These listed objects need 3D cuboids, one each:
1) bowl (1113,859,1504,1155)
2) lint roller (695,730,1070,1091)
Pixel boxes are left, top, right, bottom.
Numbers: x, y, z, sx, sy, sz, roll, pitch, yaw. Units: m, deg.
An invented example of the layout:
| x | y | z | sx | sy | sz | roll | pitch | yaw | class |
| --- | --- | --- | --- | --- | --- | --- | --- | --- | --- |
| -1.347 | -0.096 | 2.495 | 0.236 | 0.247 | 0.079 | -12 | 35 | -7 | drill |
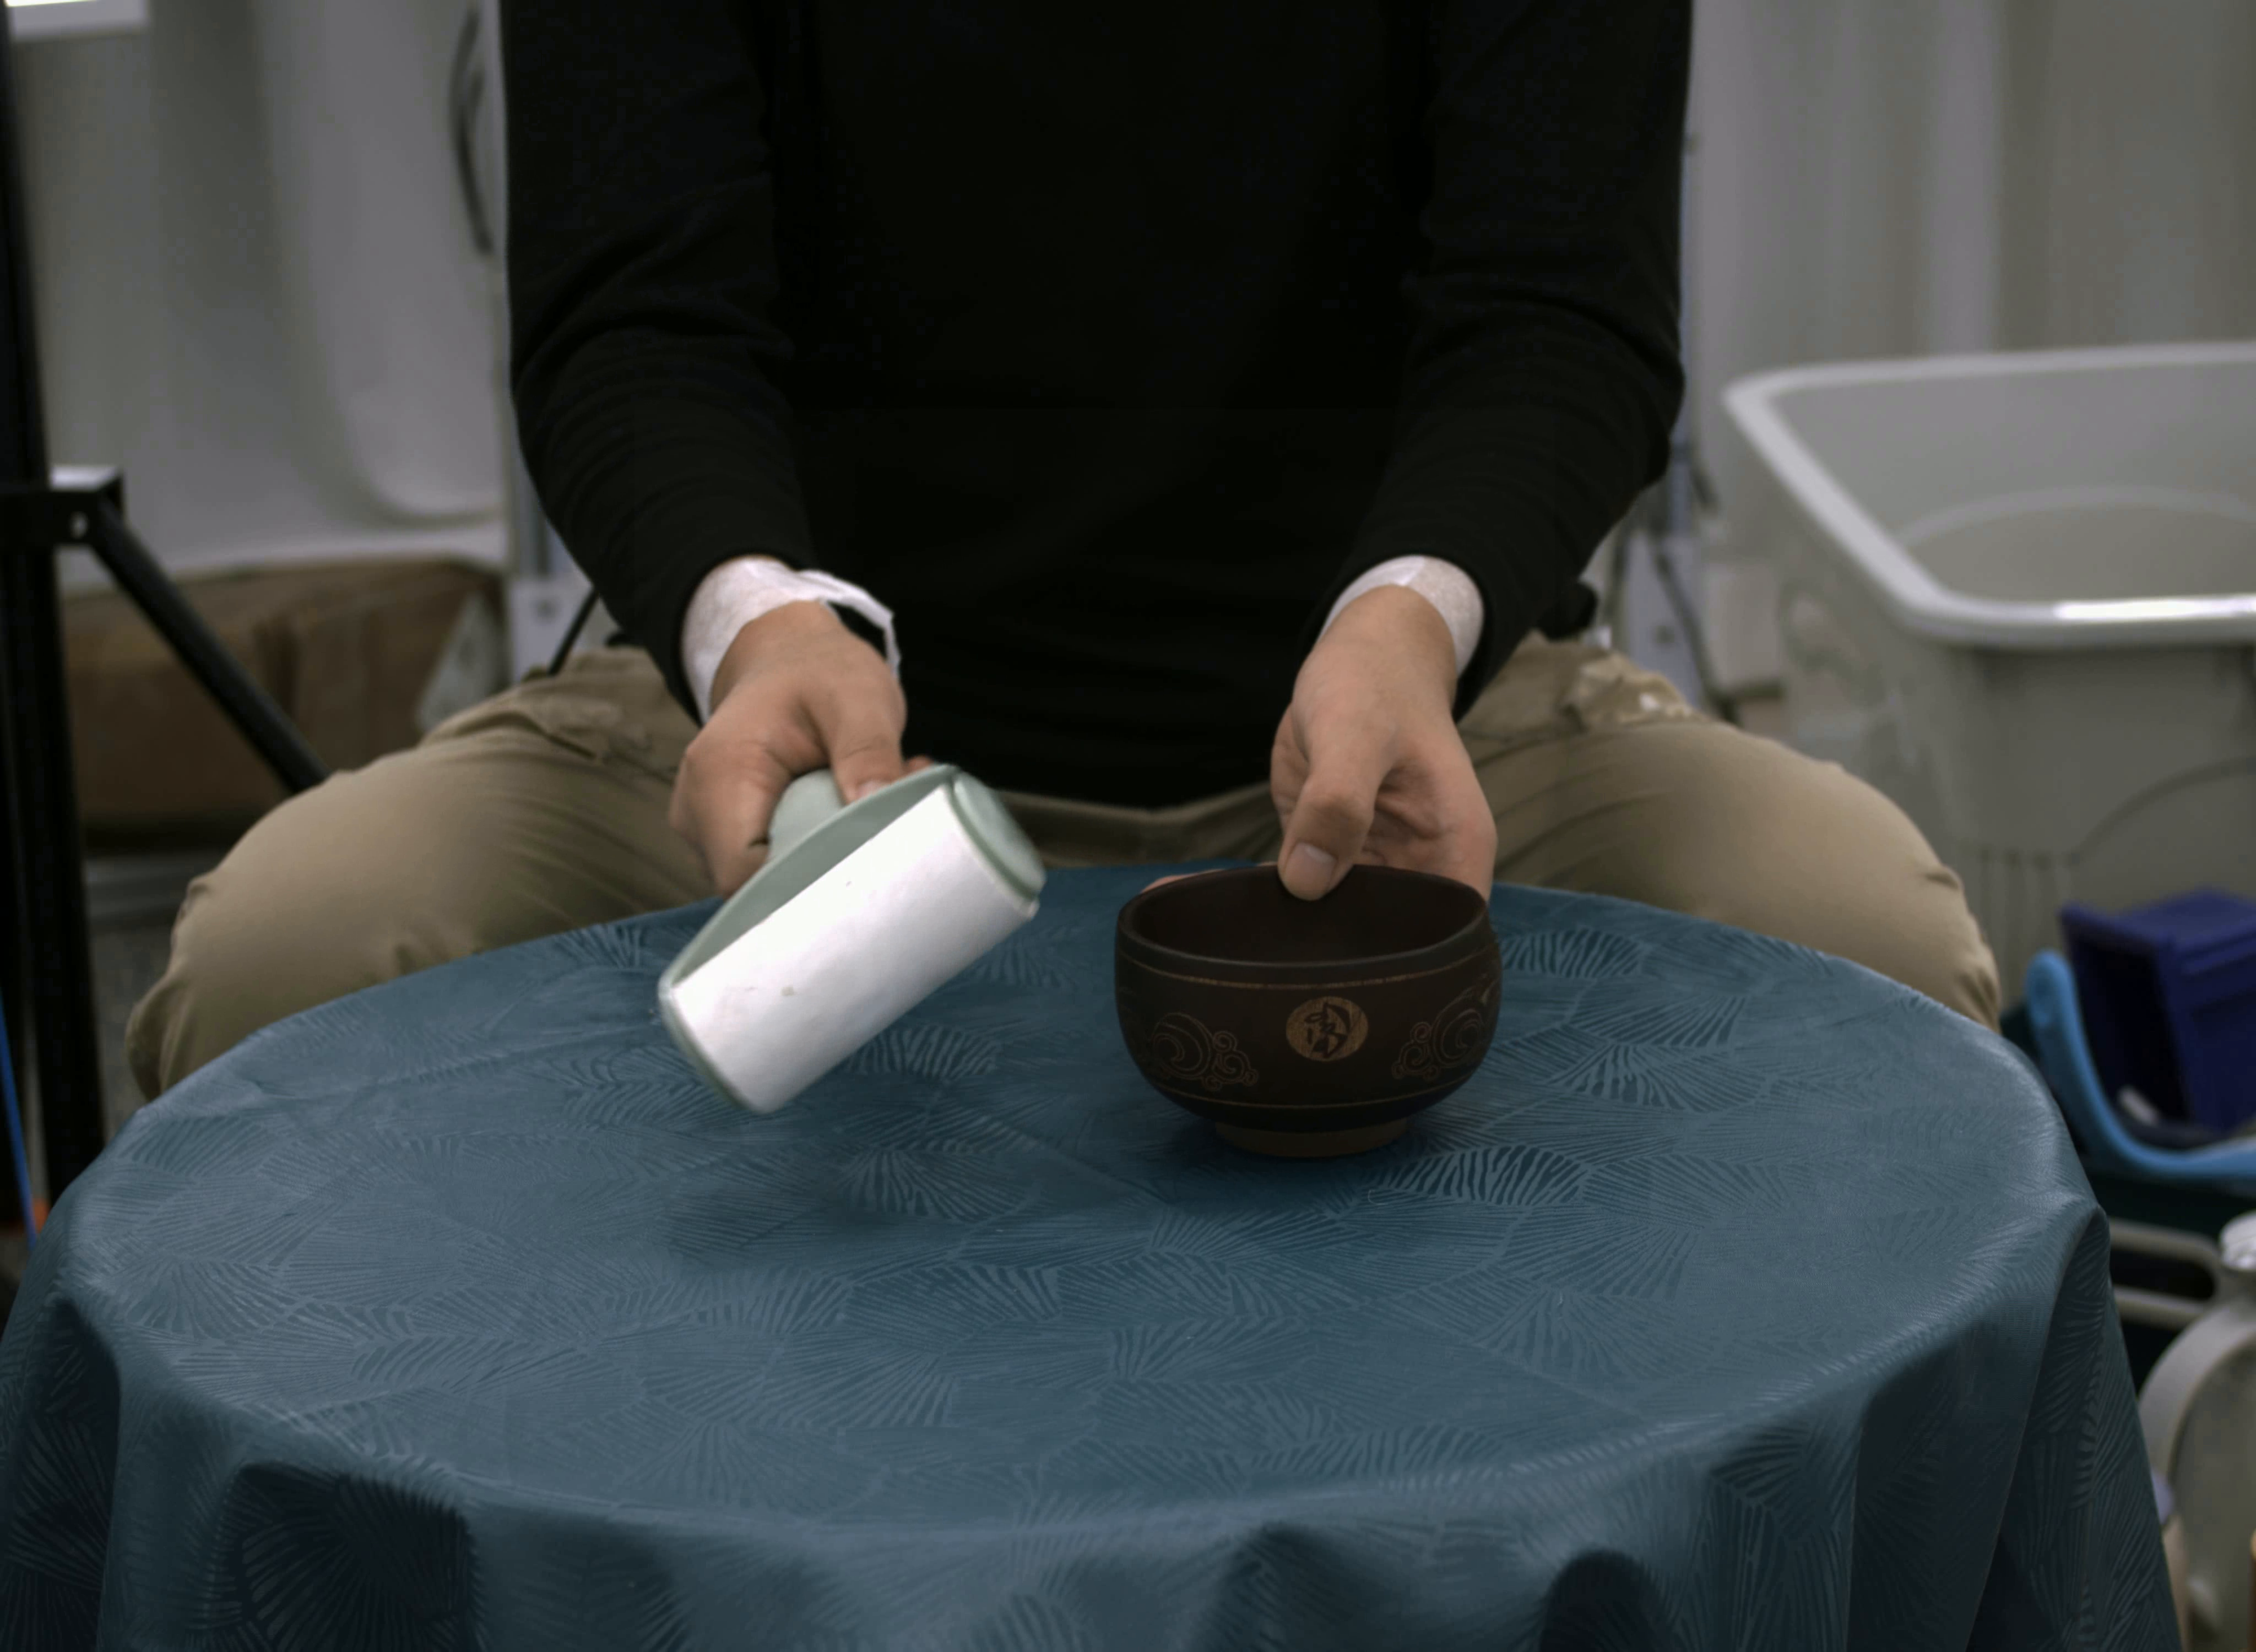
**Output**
| x | y | z | sx | sy | sz | roll | pitch | yaw | class |
| --- | --- | --- | --- | --- | --- | --- | --- | --- | --- |
| 0.055 | 0.058 | 1.592 | 0.117 | 0.070 | 0.118 | -3 | 13 | -1 | bowl |
| -0.079 | 0.006 | 1.615 | 0.117 | 0.048 | 0.199 | -41 | 18 | 7 | lint roller |
